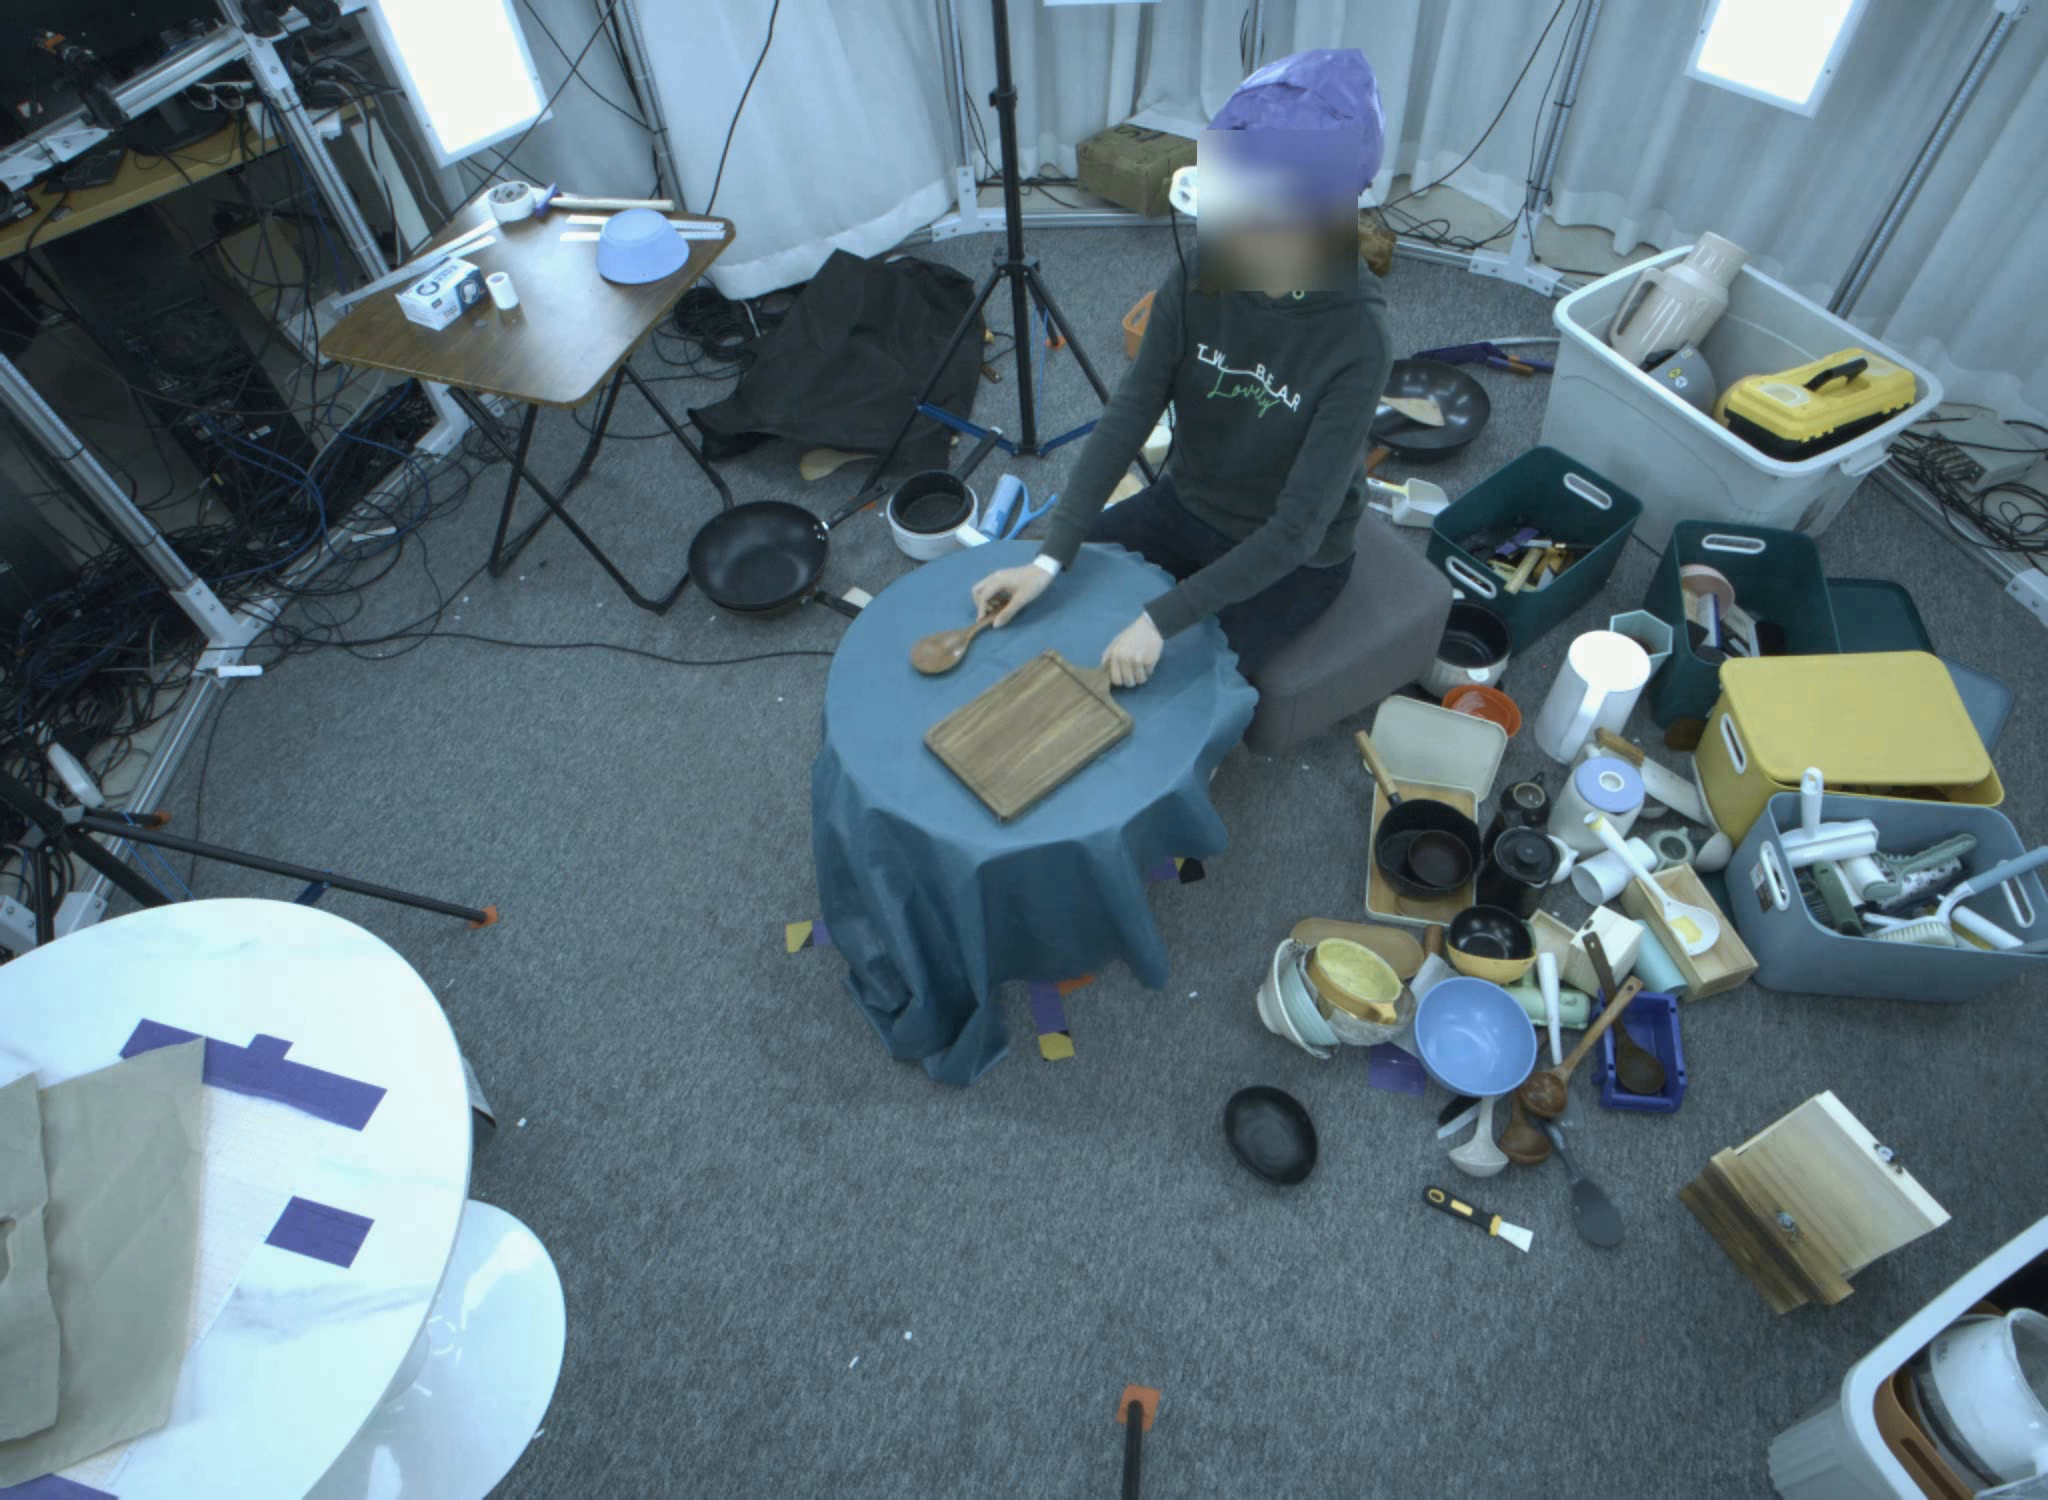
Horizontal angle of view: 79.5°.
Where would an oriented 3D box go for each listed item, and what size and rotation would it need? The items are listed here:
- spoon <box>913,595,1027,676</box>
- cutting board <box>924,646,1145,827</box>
[{"bbox_3d":[-0.081,-0.179,1.915,0.217,0.017,0.074,-37,60,-21],"label":"spoon"},{"bbox_3d":[0.046,-0.049,1.814,0.354,0.023,0.197,-36,60,-20],"label":"cutting board"}]
